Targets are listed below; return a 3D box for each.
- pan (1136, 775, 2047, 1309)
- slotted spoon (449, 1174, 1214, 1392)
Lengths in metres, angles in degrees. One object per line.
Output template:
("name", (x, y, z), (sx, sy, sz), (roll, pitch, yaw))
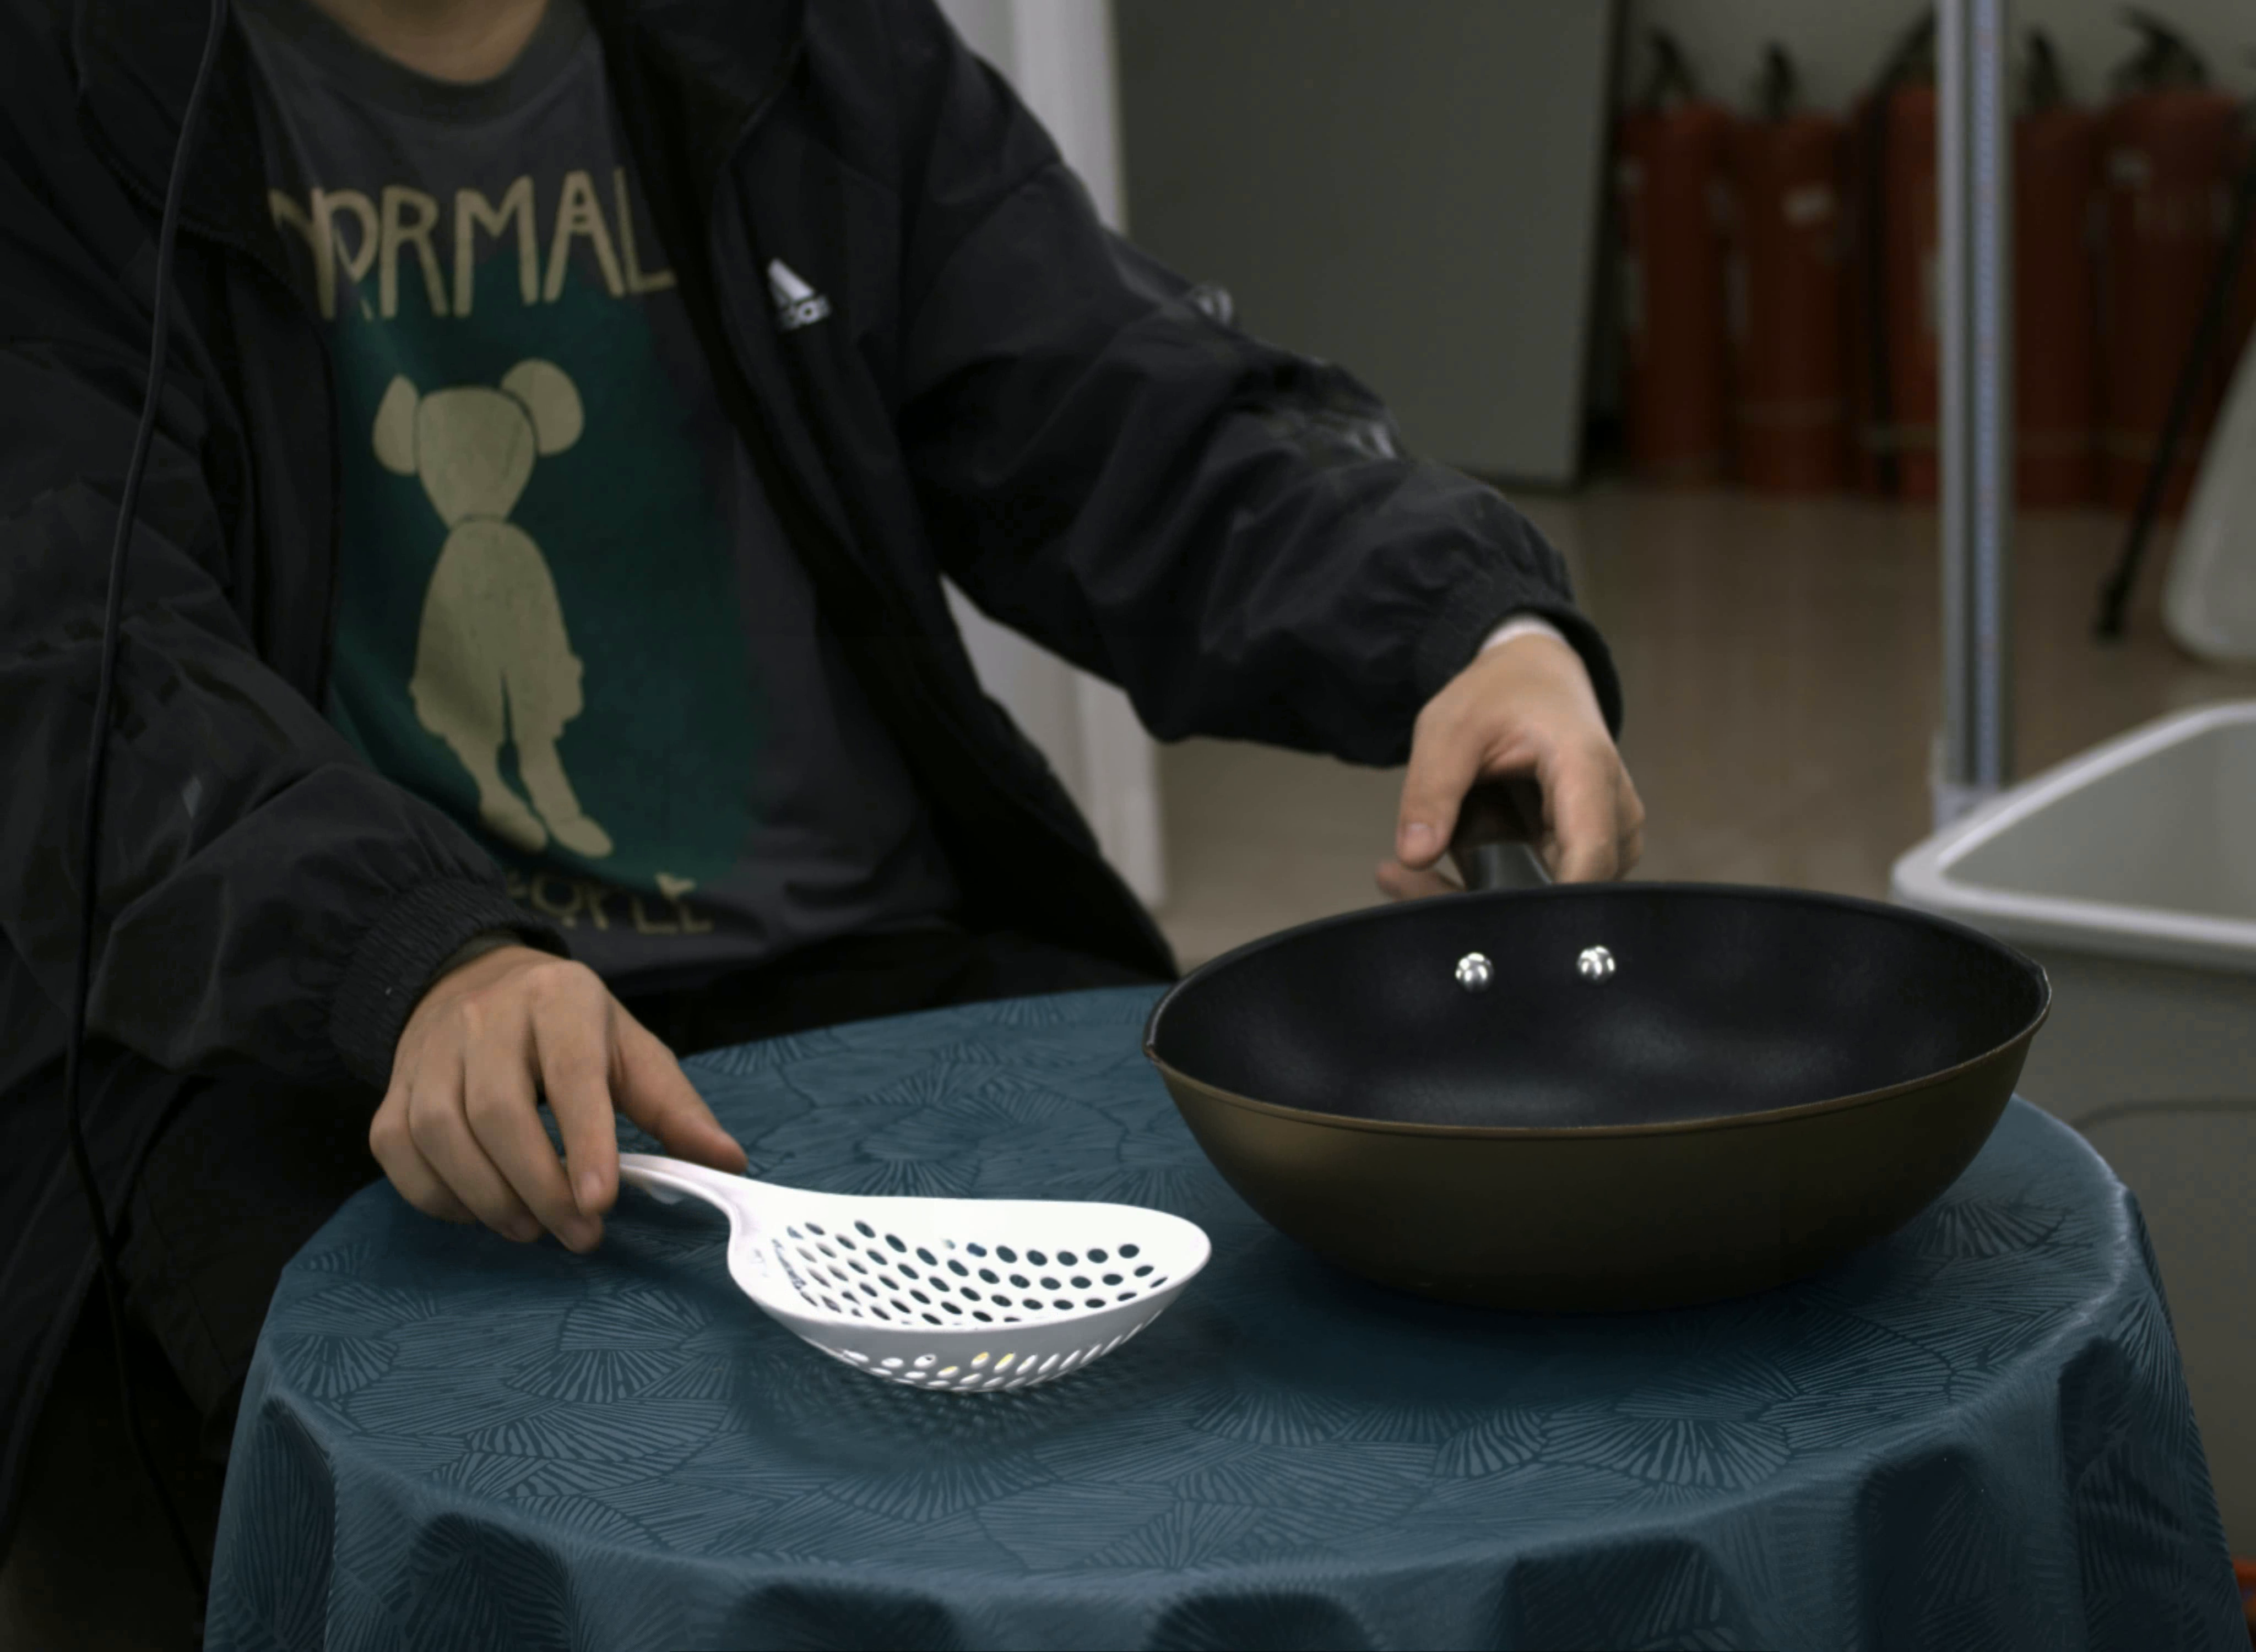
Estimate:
("pan", (0.139, 0.068, 1.770), (0.284, 0.088, 0.465), (-5, 13, -3))
("slotted spoon", (-0.110, 0.130, 1.686), (0.134, 0.051, 0.351), (-14, 16, -36))
